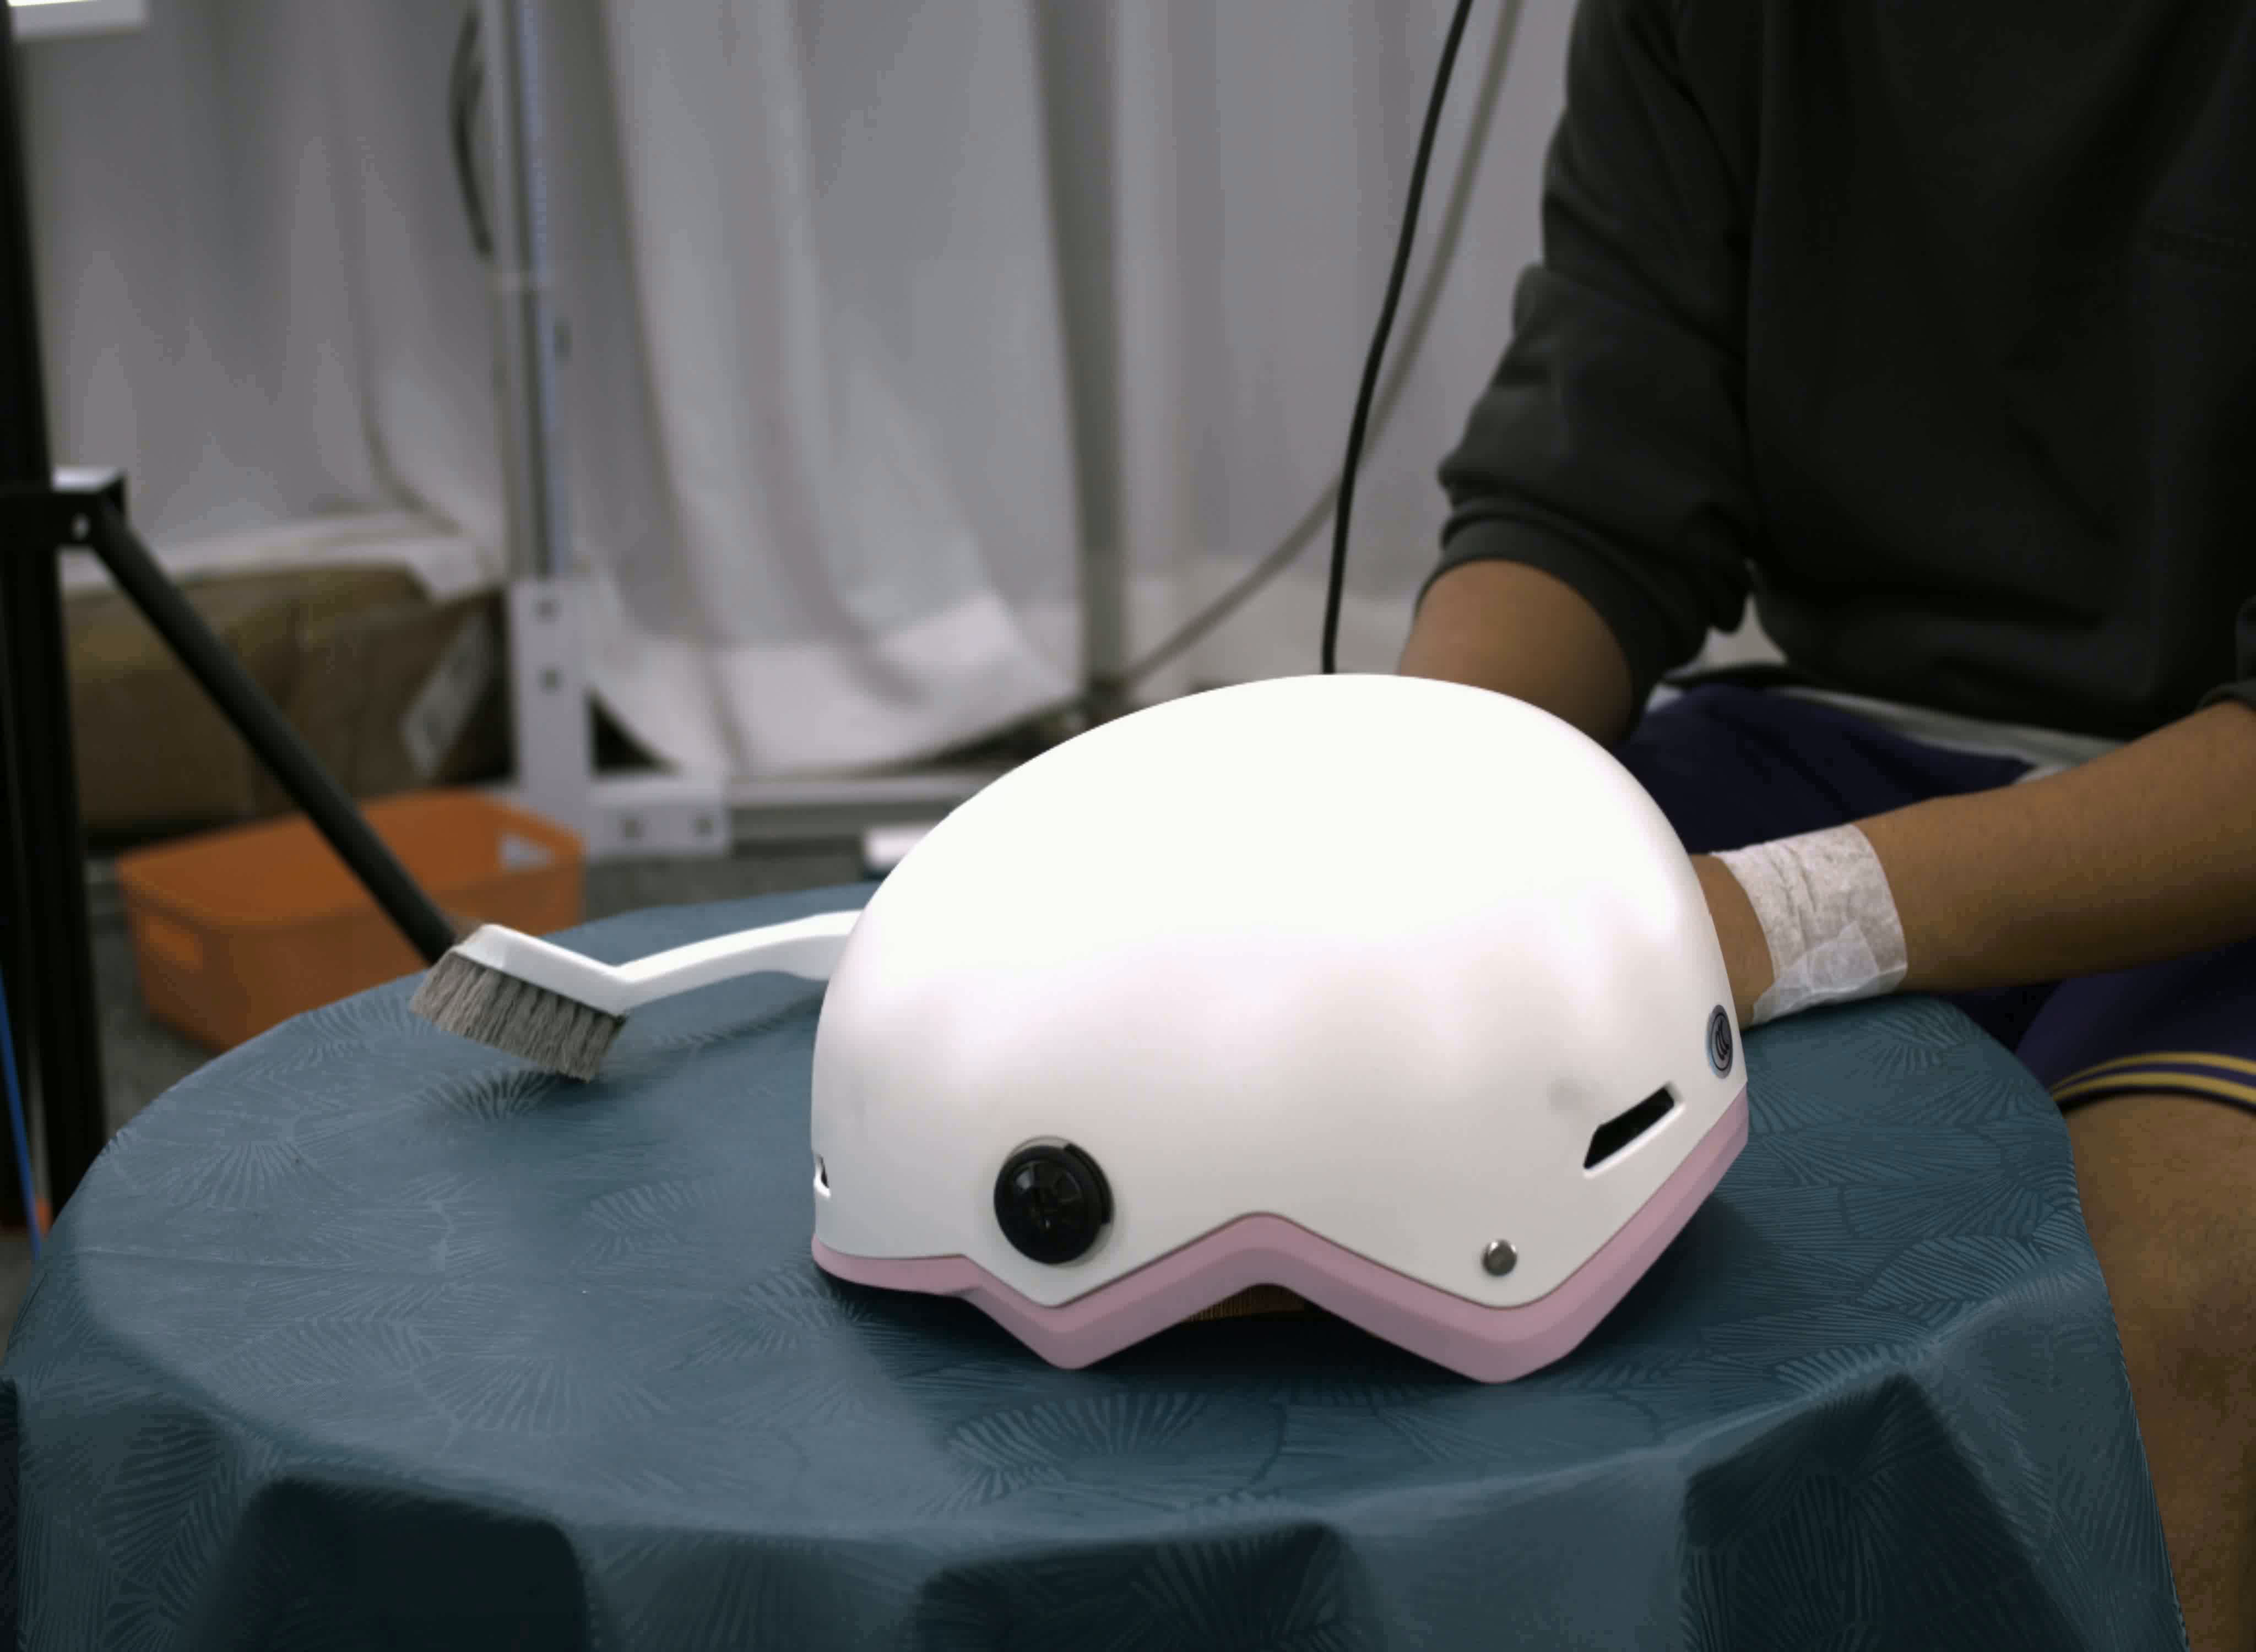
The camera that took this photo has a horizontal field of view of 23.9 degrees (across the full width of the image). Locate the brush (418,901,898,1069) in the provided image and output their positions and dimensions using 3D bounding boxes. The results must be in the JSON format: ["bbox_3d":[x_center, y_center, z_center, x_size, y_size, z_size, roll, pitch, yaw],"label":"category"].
[{"bbox_3d":[-0.125,0.052,1.735,0.237,0.050,0.035,1,13,-43],"label":"brush"}]

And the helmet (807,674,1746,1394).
[{"bbox_3d":[0.038,0.042,1.487,0.272,0.167,0.234,4,17,22],"label":"helmet"}]
